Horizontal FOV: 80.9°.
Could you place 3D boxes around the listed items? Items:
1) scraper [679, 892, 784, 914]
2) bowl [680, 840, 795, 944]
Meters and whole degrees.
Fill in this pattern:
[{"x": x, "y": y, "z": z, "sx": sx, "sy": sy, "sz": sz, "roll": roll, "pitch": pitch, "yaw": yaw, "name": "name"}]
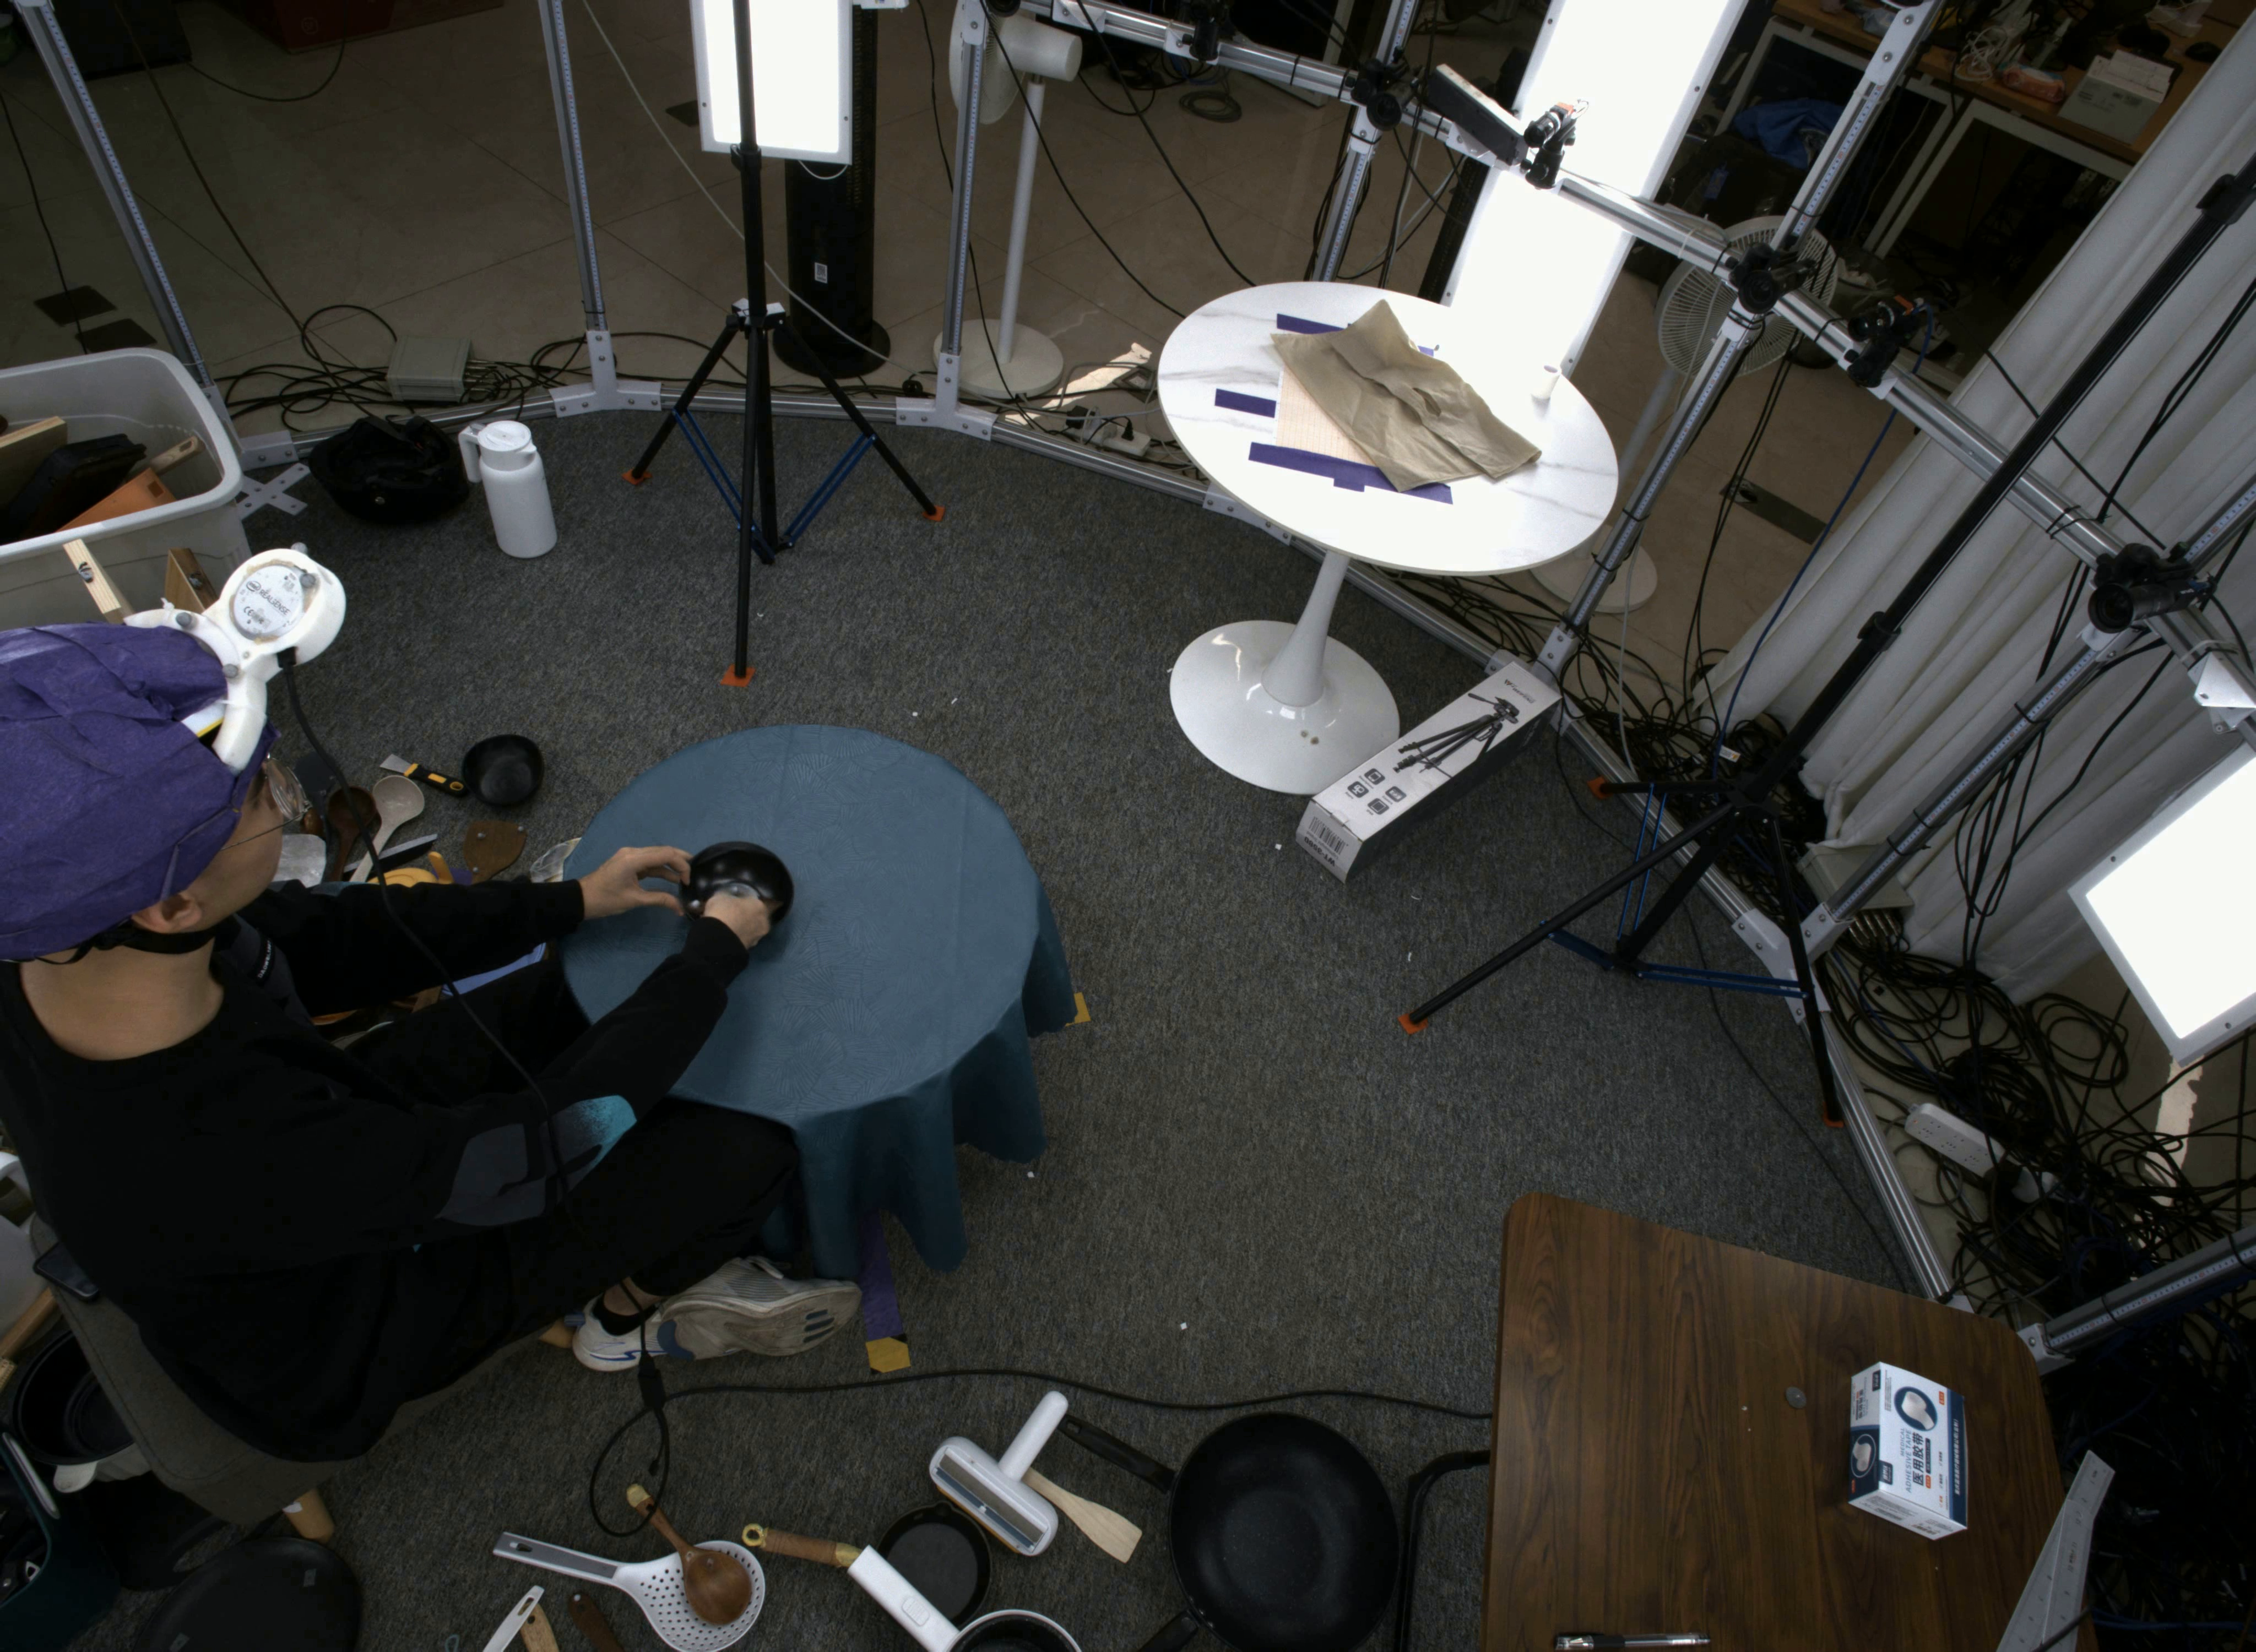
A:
[{"x": -0.477, "y": 0.091, "z": 1.531, "sx": 0.075, "sy": 0.212, "sz": 0.011, "roll": 11, "pitch": 91, "yaw": 5, "name": "scraper"}, {"x": -0.487, "y": 0.087, "z": 1.608, "sx": 0.141, "sy": 0.050, "sz": 0.138, "roll": 13, "pitch": 57, "yaw": -18, "name": "bowl"}]
